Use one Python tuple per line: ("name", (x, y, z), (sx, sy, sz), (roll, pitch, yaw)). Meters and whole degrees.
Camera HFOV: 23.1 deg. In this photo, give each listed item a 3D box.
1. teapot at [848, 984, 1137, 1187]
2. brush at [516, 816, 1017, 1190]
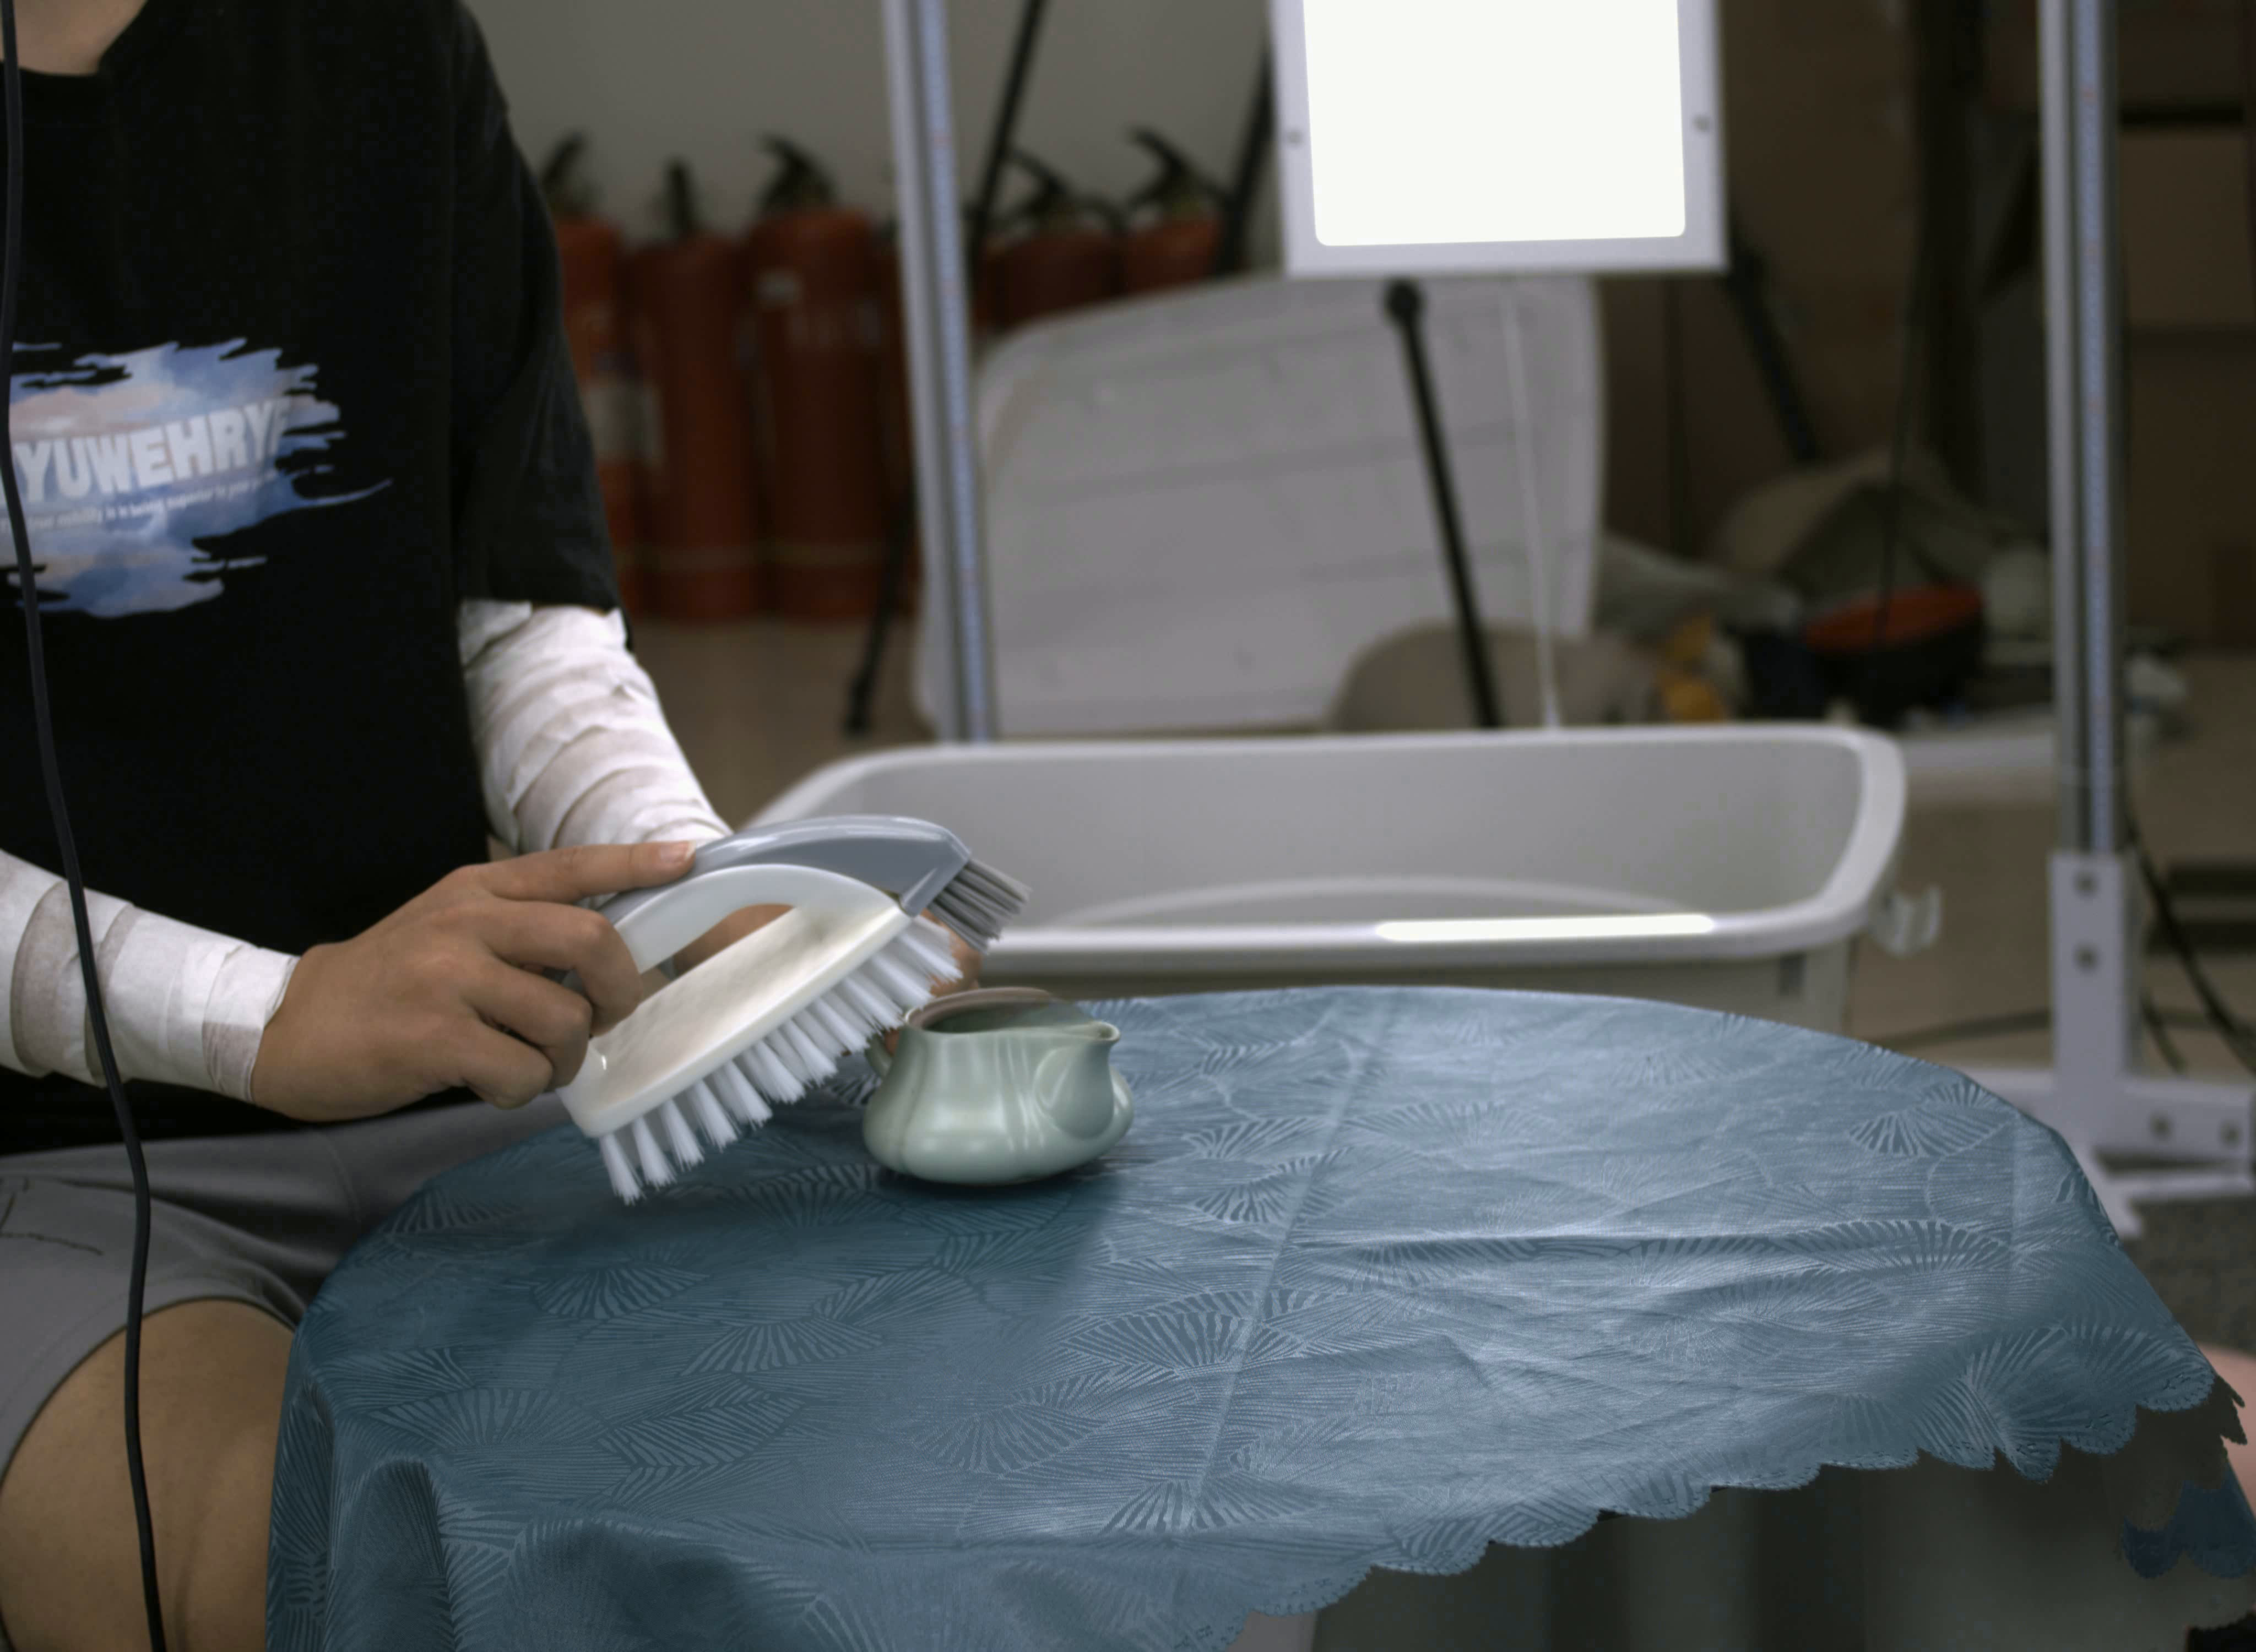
("teapot", (-0.049, 0.090, 1.940), (0.094, 0.061, 0.140), (-20, 20, -41))
("brush", (-0.131, 0.043, 1.913), (0.176, 0.093, 0.062), (-31, 30, 5))
